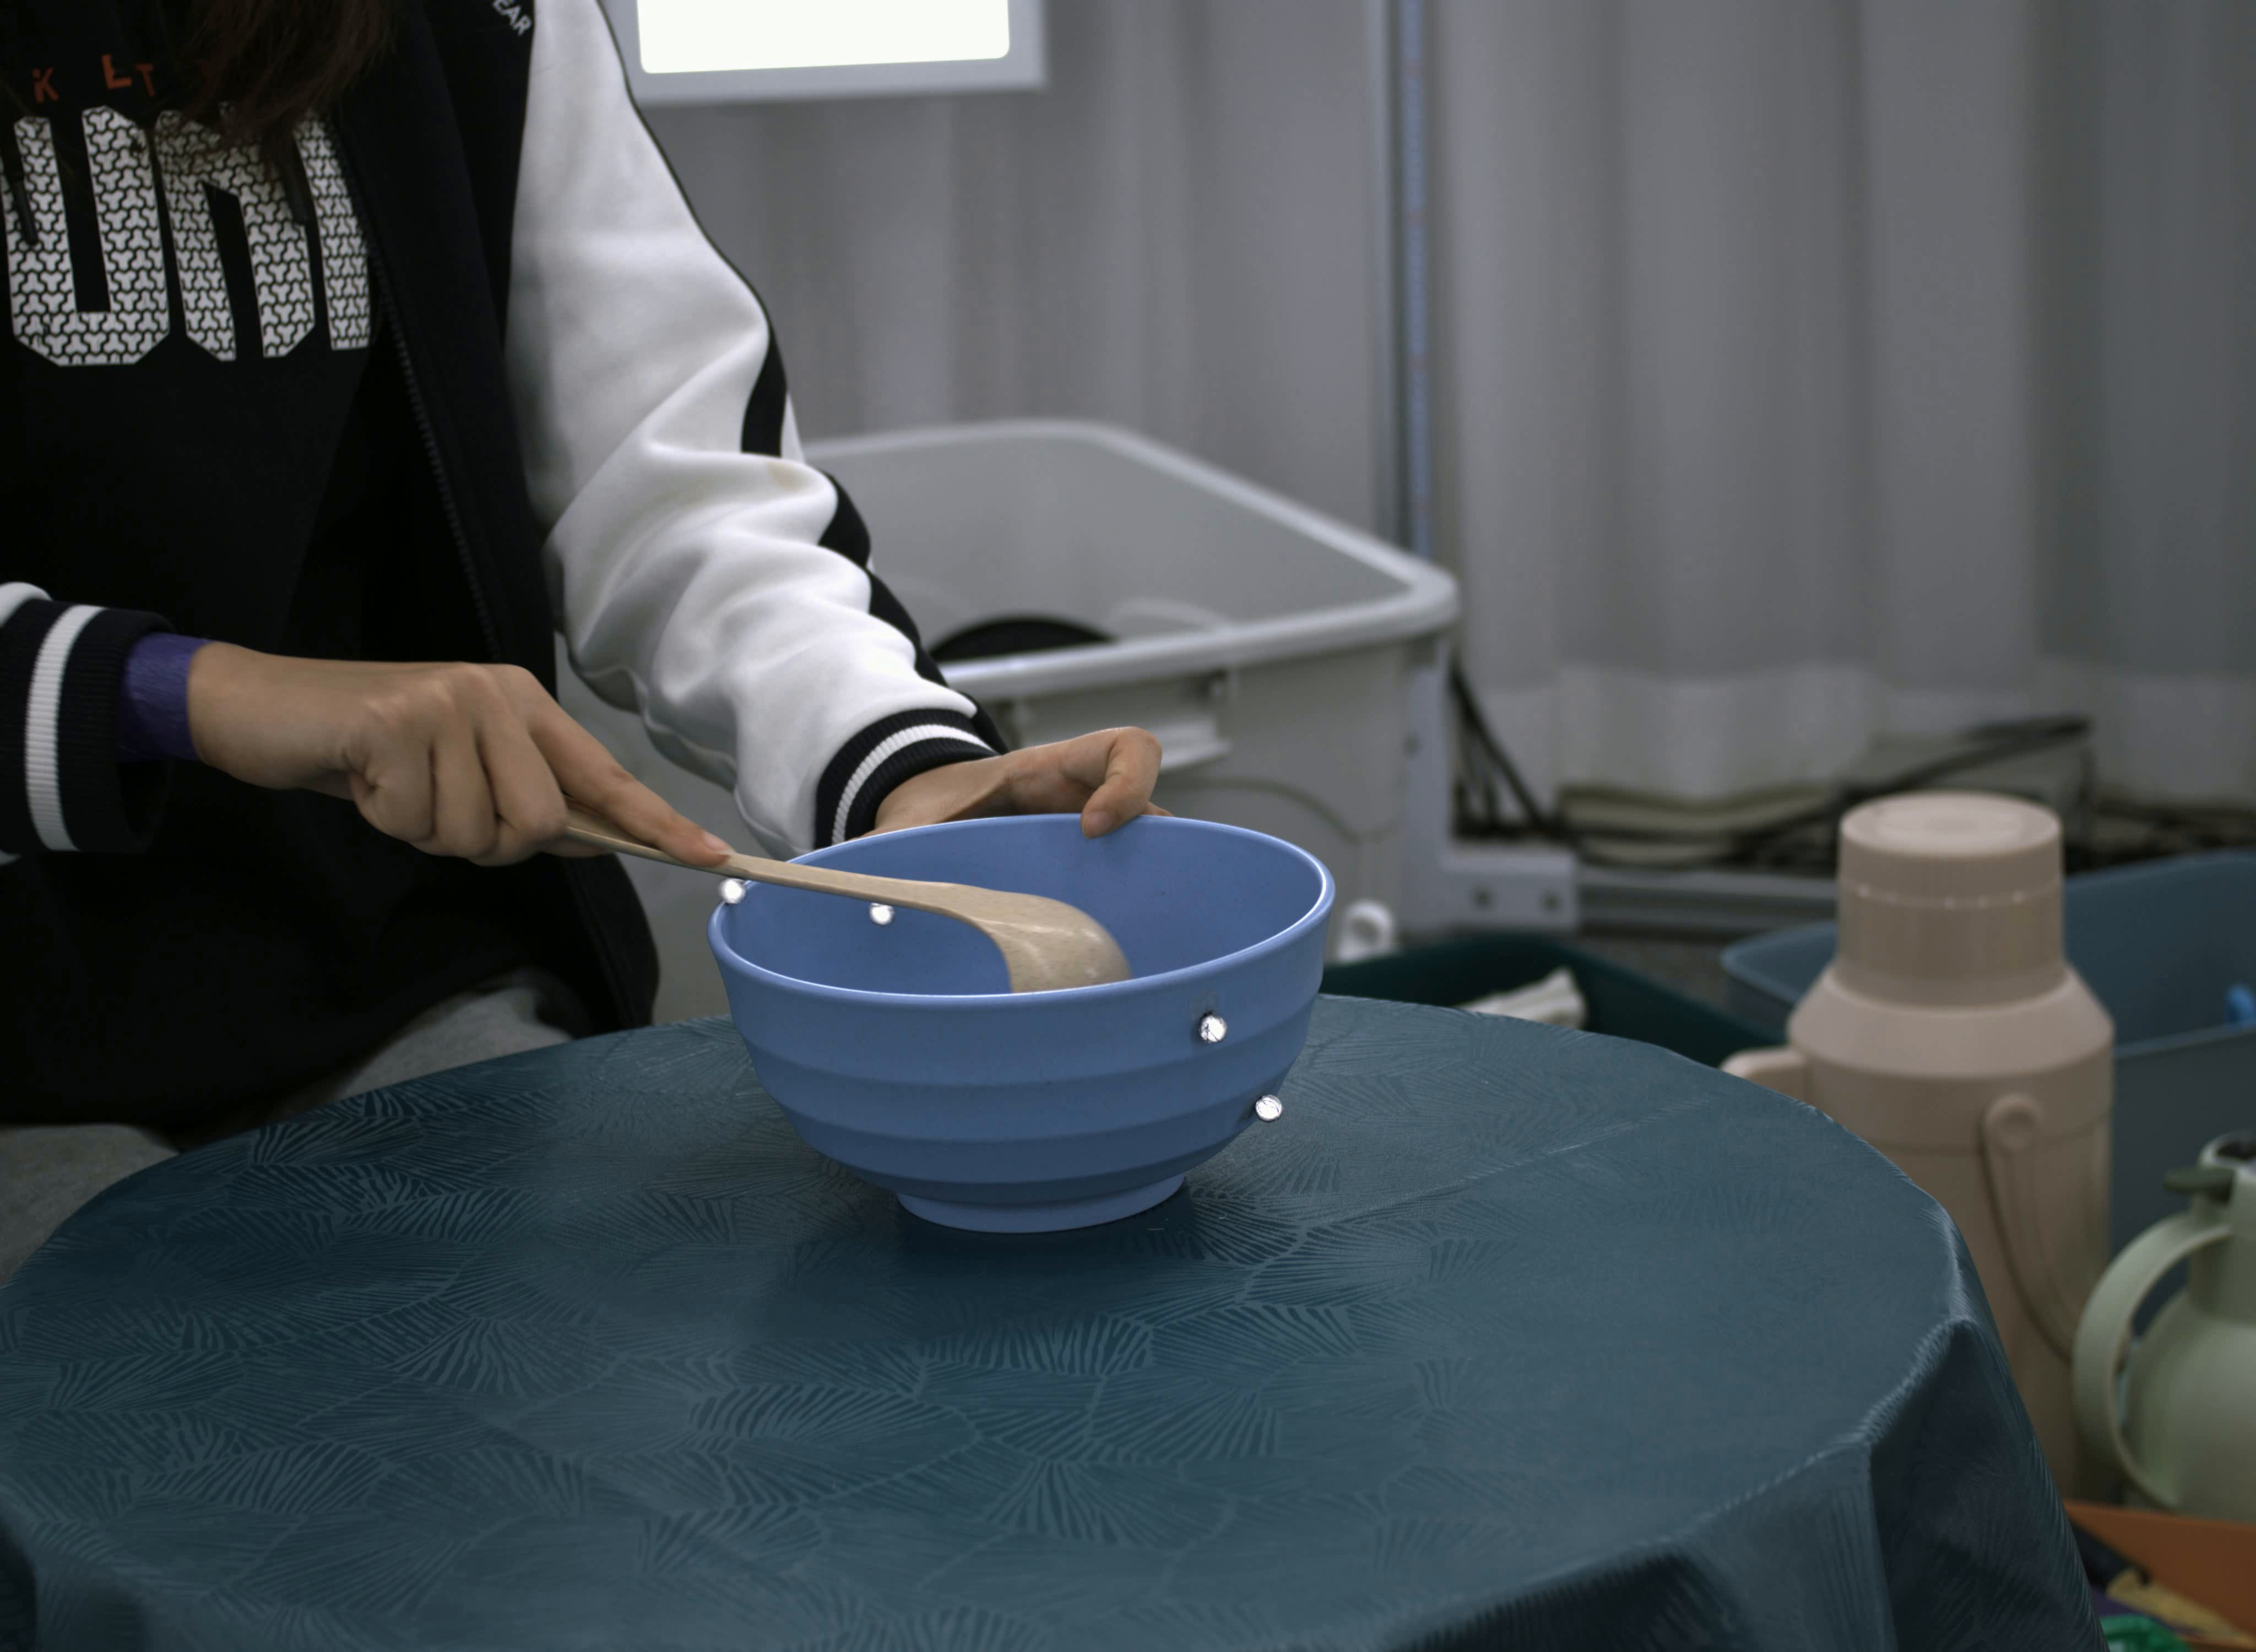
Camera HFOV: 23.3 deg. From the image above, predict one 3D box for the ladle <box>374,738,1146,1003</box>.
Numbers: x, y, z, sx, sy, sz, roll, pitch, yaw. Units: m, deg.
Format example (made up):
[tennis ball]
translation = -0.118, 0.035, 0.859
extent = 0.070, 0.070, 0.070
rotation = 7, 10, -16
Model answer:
[ladle]
translation = -0.121, 0.037, 1.730
extent = 0.253, 0.072, 0.073
rotation = 14, 24, -2

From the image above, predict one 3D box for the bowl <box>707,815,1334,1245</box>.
[bowl]
translation = -0.030, 0.071, 1.712
extent = 0.196, 0.095, 0.198
rotation = -5, 16, 1
